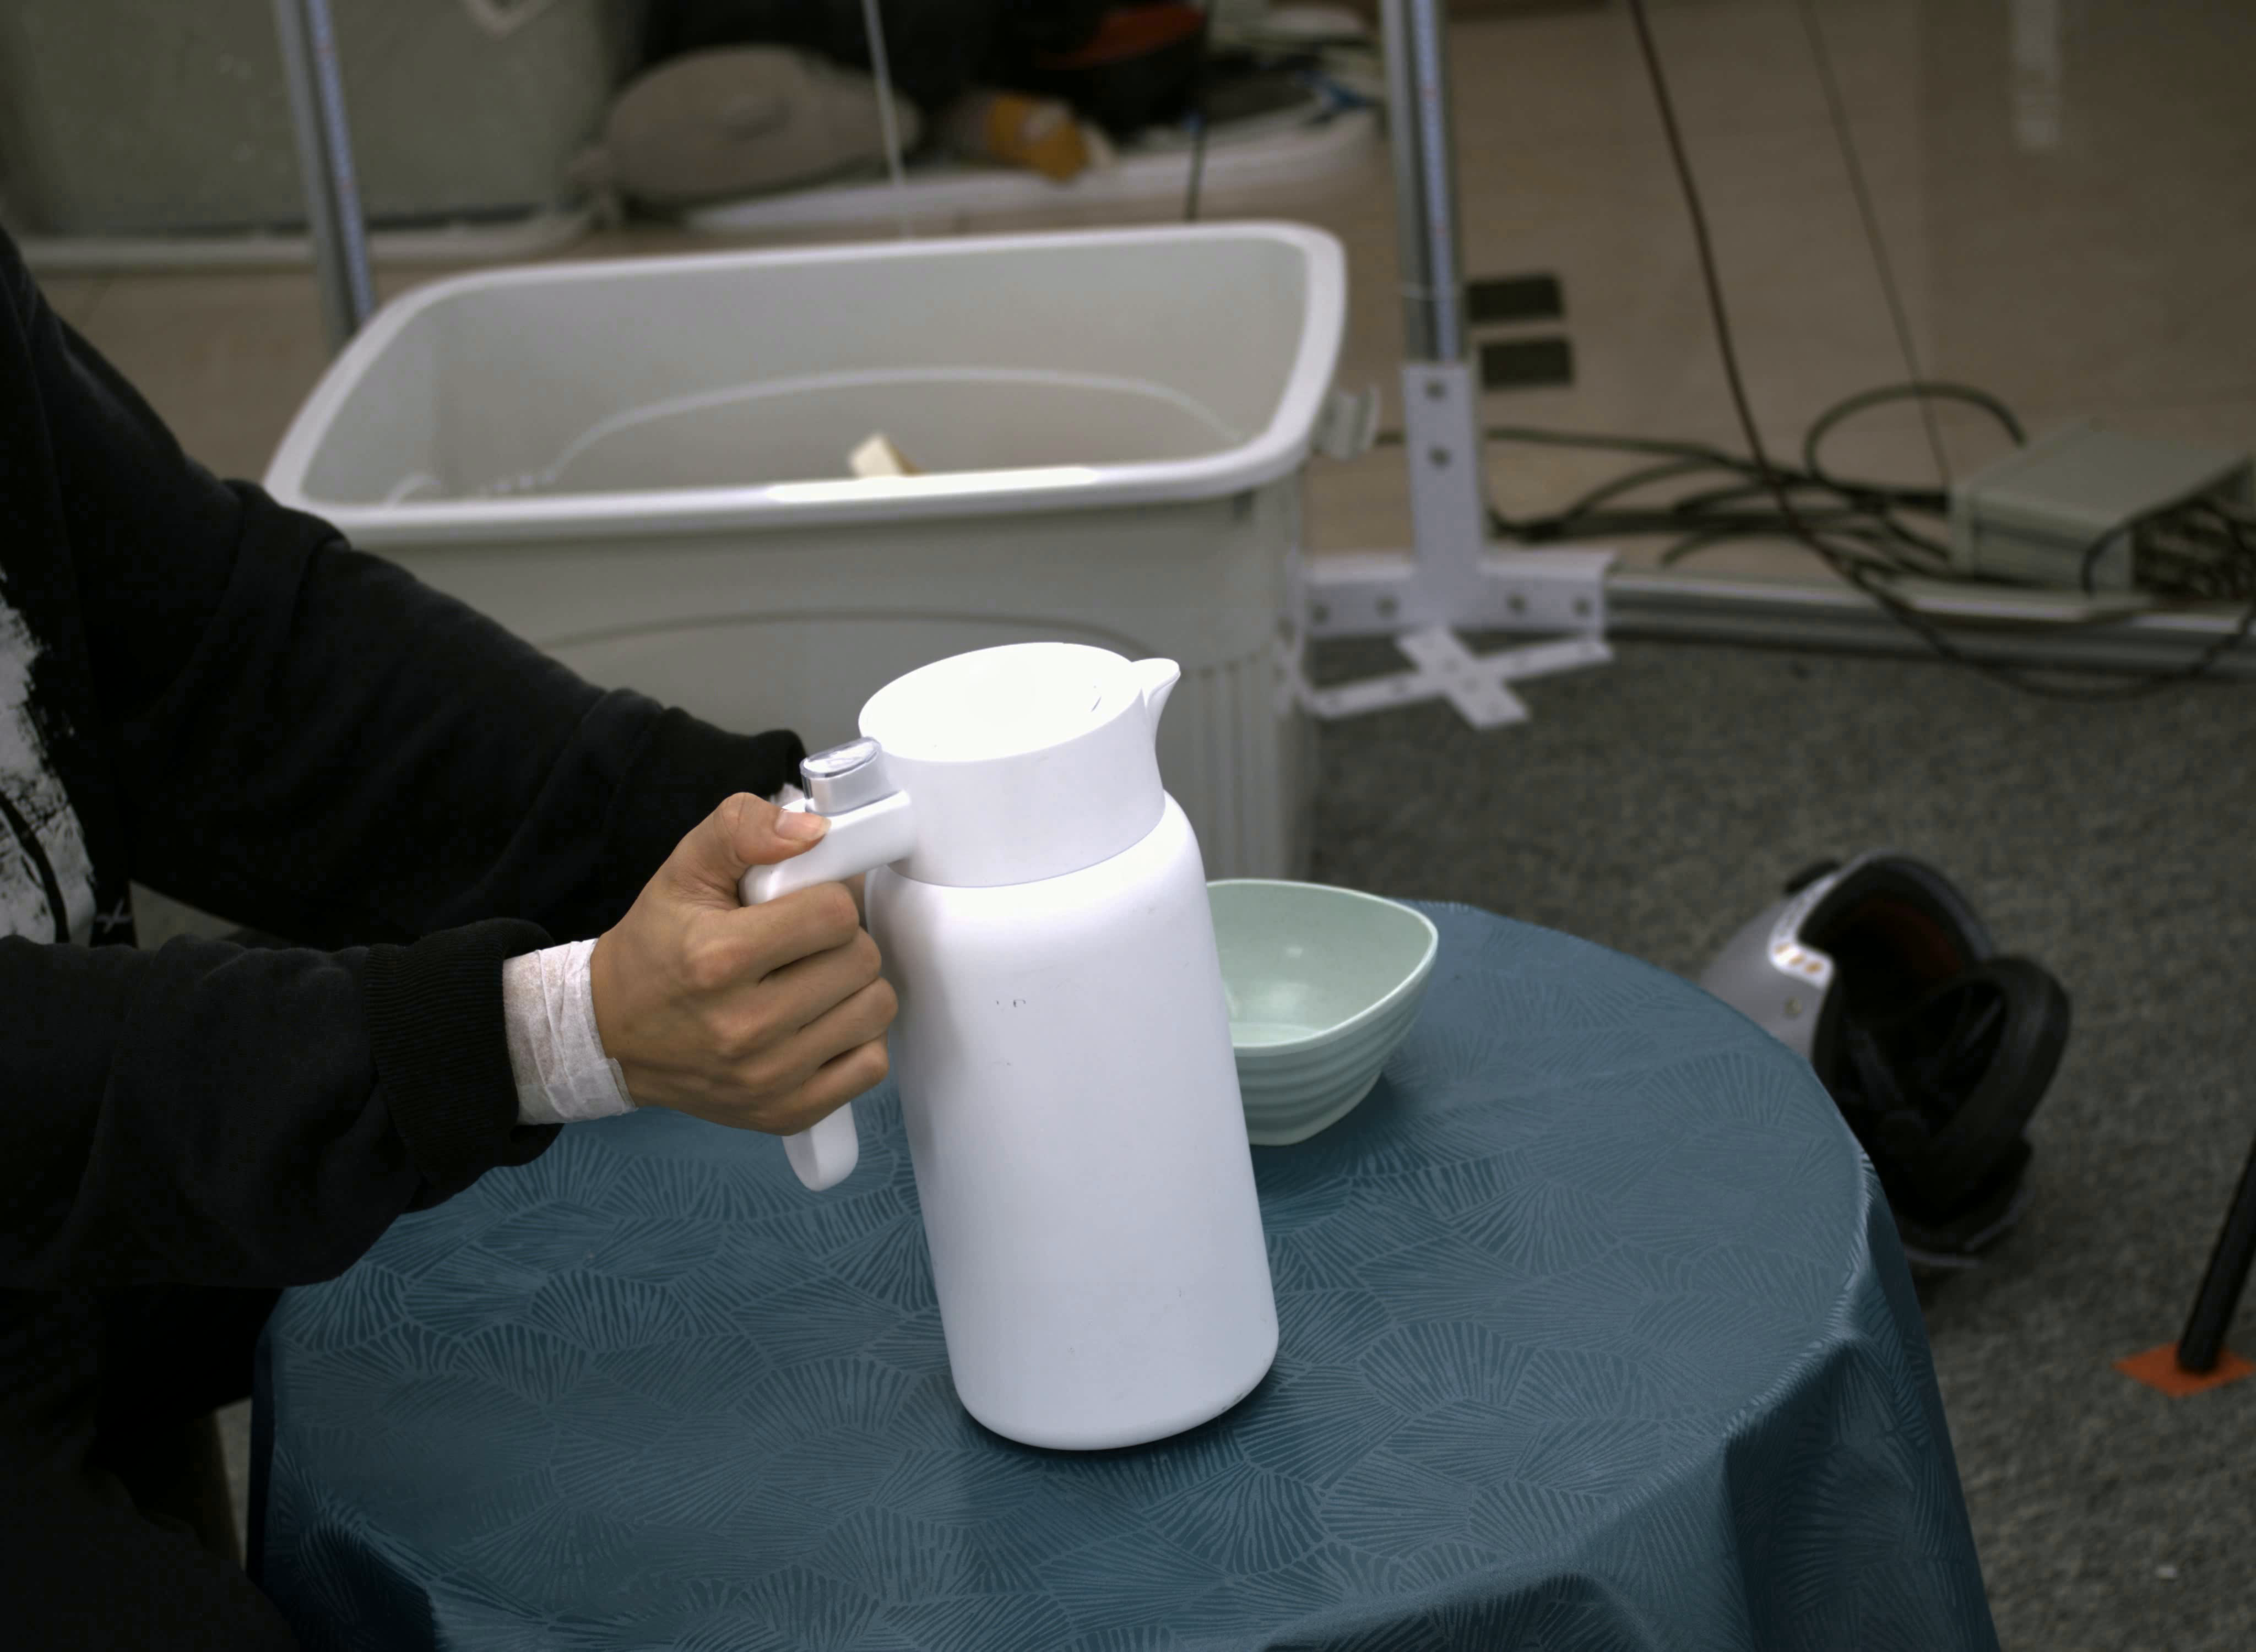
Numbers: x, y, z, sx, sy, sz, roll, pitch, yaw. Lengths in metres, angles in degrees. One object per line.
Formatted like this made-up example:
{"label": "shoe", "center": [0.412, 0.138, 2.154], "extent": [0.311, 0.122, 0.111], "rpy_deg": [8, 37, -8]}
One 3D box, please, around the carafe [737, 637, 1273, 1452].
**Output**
{"label": "carafe", "center": [-0.038, 0.082, 1.956], "extent": [0.172, 0.273, 0.122], "rpy_deg": [-21, 29, -25]}

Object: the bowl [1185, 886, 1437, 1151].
{"label": "bowl", "center": [0.048, 0.080, 2.201], "extent": [0.151, 0.059, 0.149], "rpy_deg": [-5, 25, 2]}
